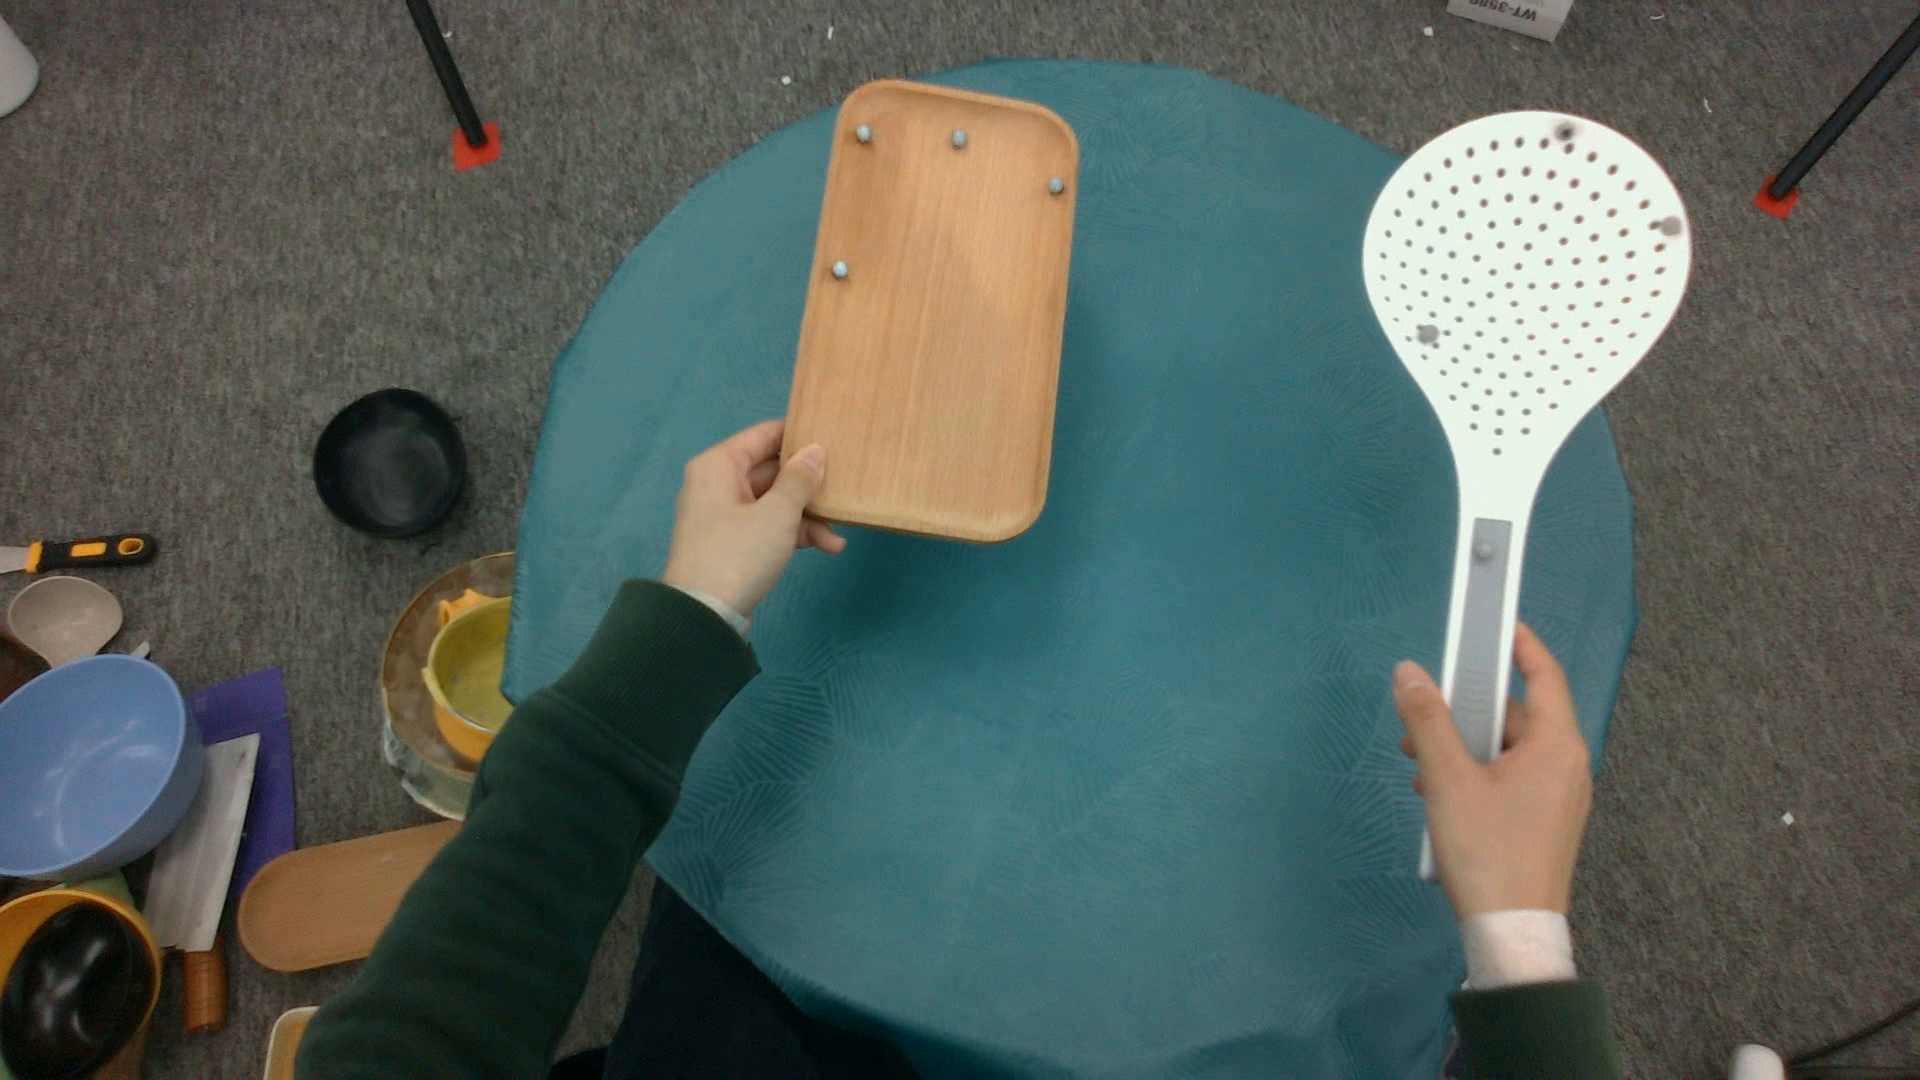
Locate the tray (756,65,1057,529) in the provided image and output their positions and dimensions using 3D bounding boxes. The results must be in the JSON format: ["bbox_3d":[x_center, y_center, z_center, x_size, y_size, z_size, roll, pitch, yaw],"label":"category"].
[{"bbox_3d":[-0.022,-0.125,0.684,0.130,0.023,0.251,8,69,-3],"label":"tray"}]

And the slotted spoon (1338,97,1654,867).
[{"bbox_3d":[0.226,-0.033,0.611,0.136,0.045,0.350,7,74,14],"label":"slotted spoon"}]
